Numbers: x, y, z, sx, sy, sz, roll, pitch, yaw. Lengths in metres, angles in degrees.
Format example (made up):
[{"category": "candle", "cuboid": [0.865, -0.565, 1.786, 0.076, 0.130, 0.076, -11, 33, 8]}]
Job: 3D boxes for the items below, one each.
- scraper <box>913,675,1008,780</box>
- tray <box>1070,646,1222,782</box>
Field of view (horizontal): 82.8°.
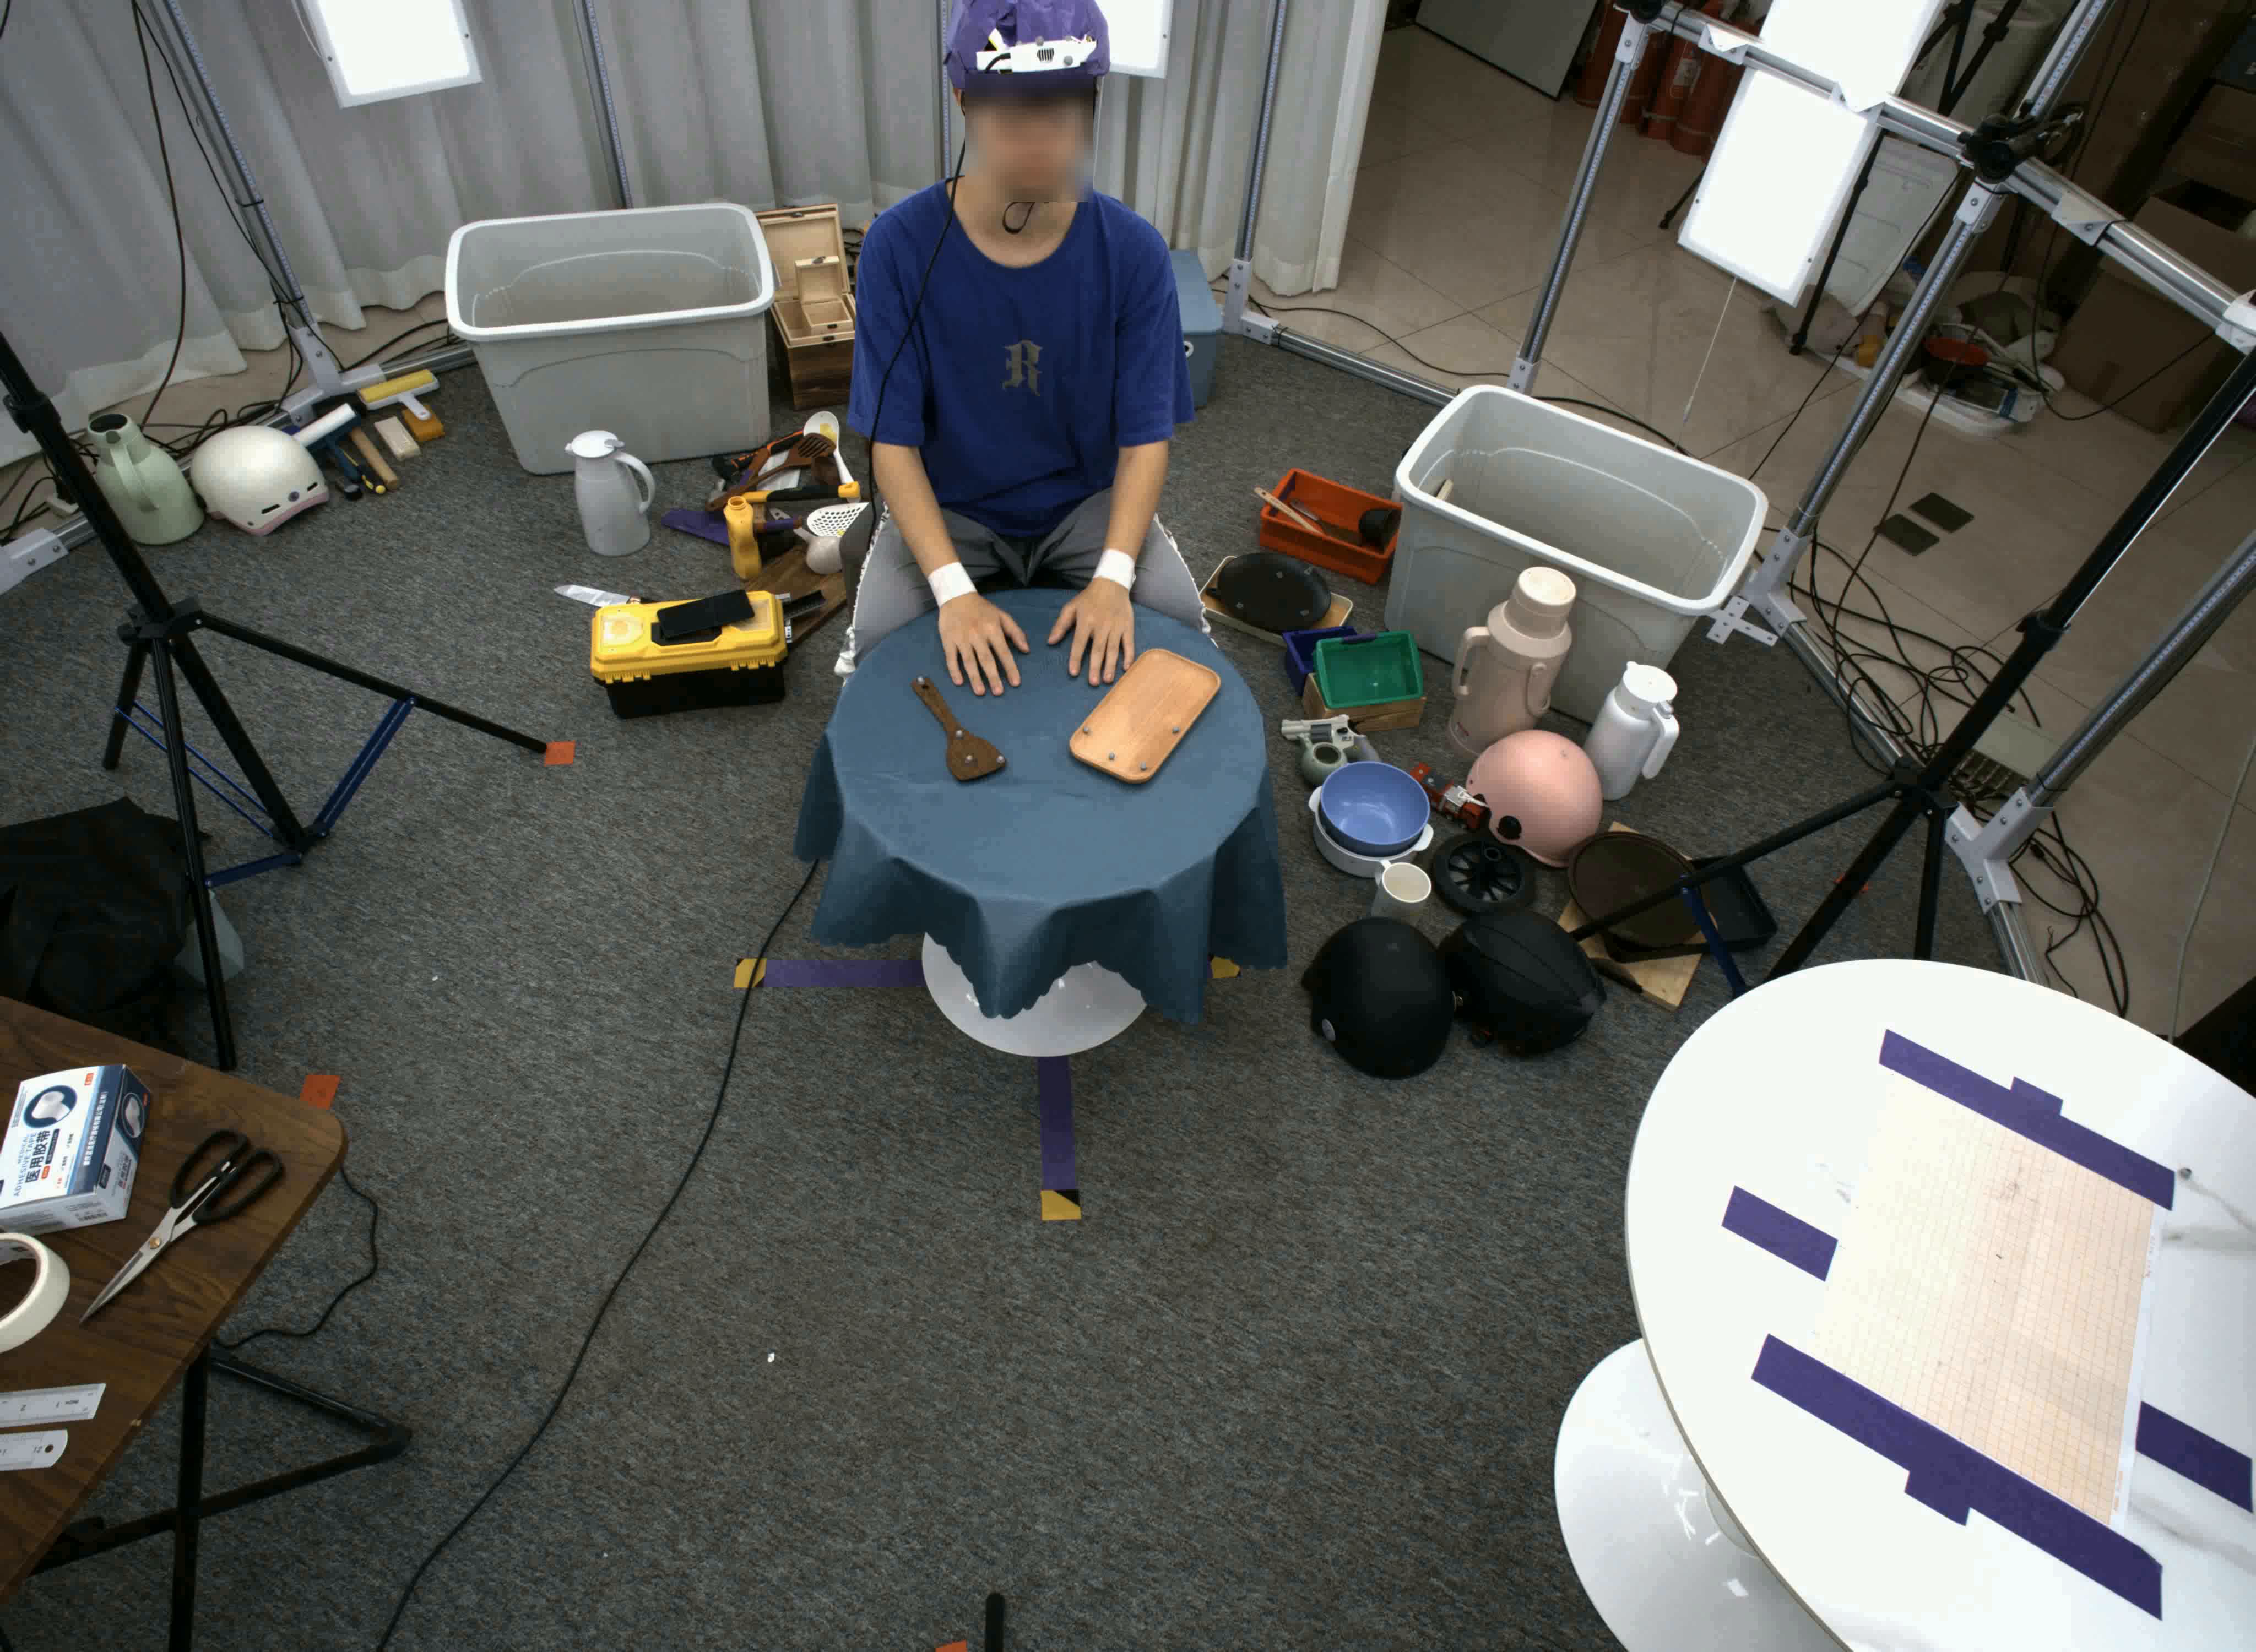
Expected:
[{"category": "scraper", "cuboid": [-0.242, -0.140, 1.773, 0.076, 0.010, 0.216, -21, 53, -21]}, {"category": "tray", "cuboid": [0.028, -0.160, 1.801, 0.131, 0.022, 0.254, 27, 53, 15]}]
